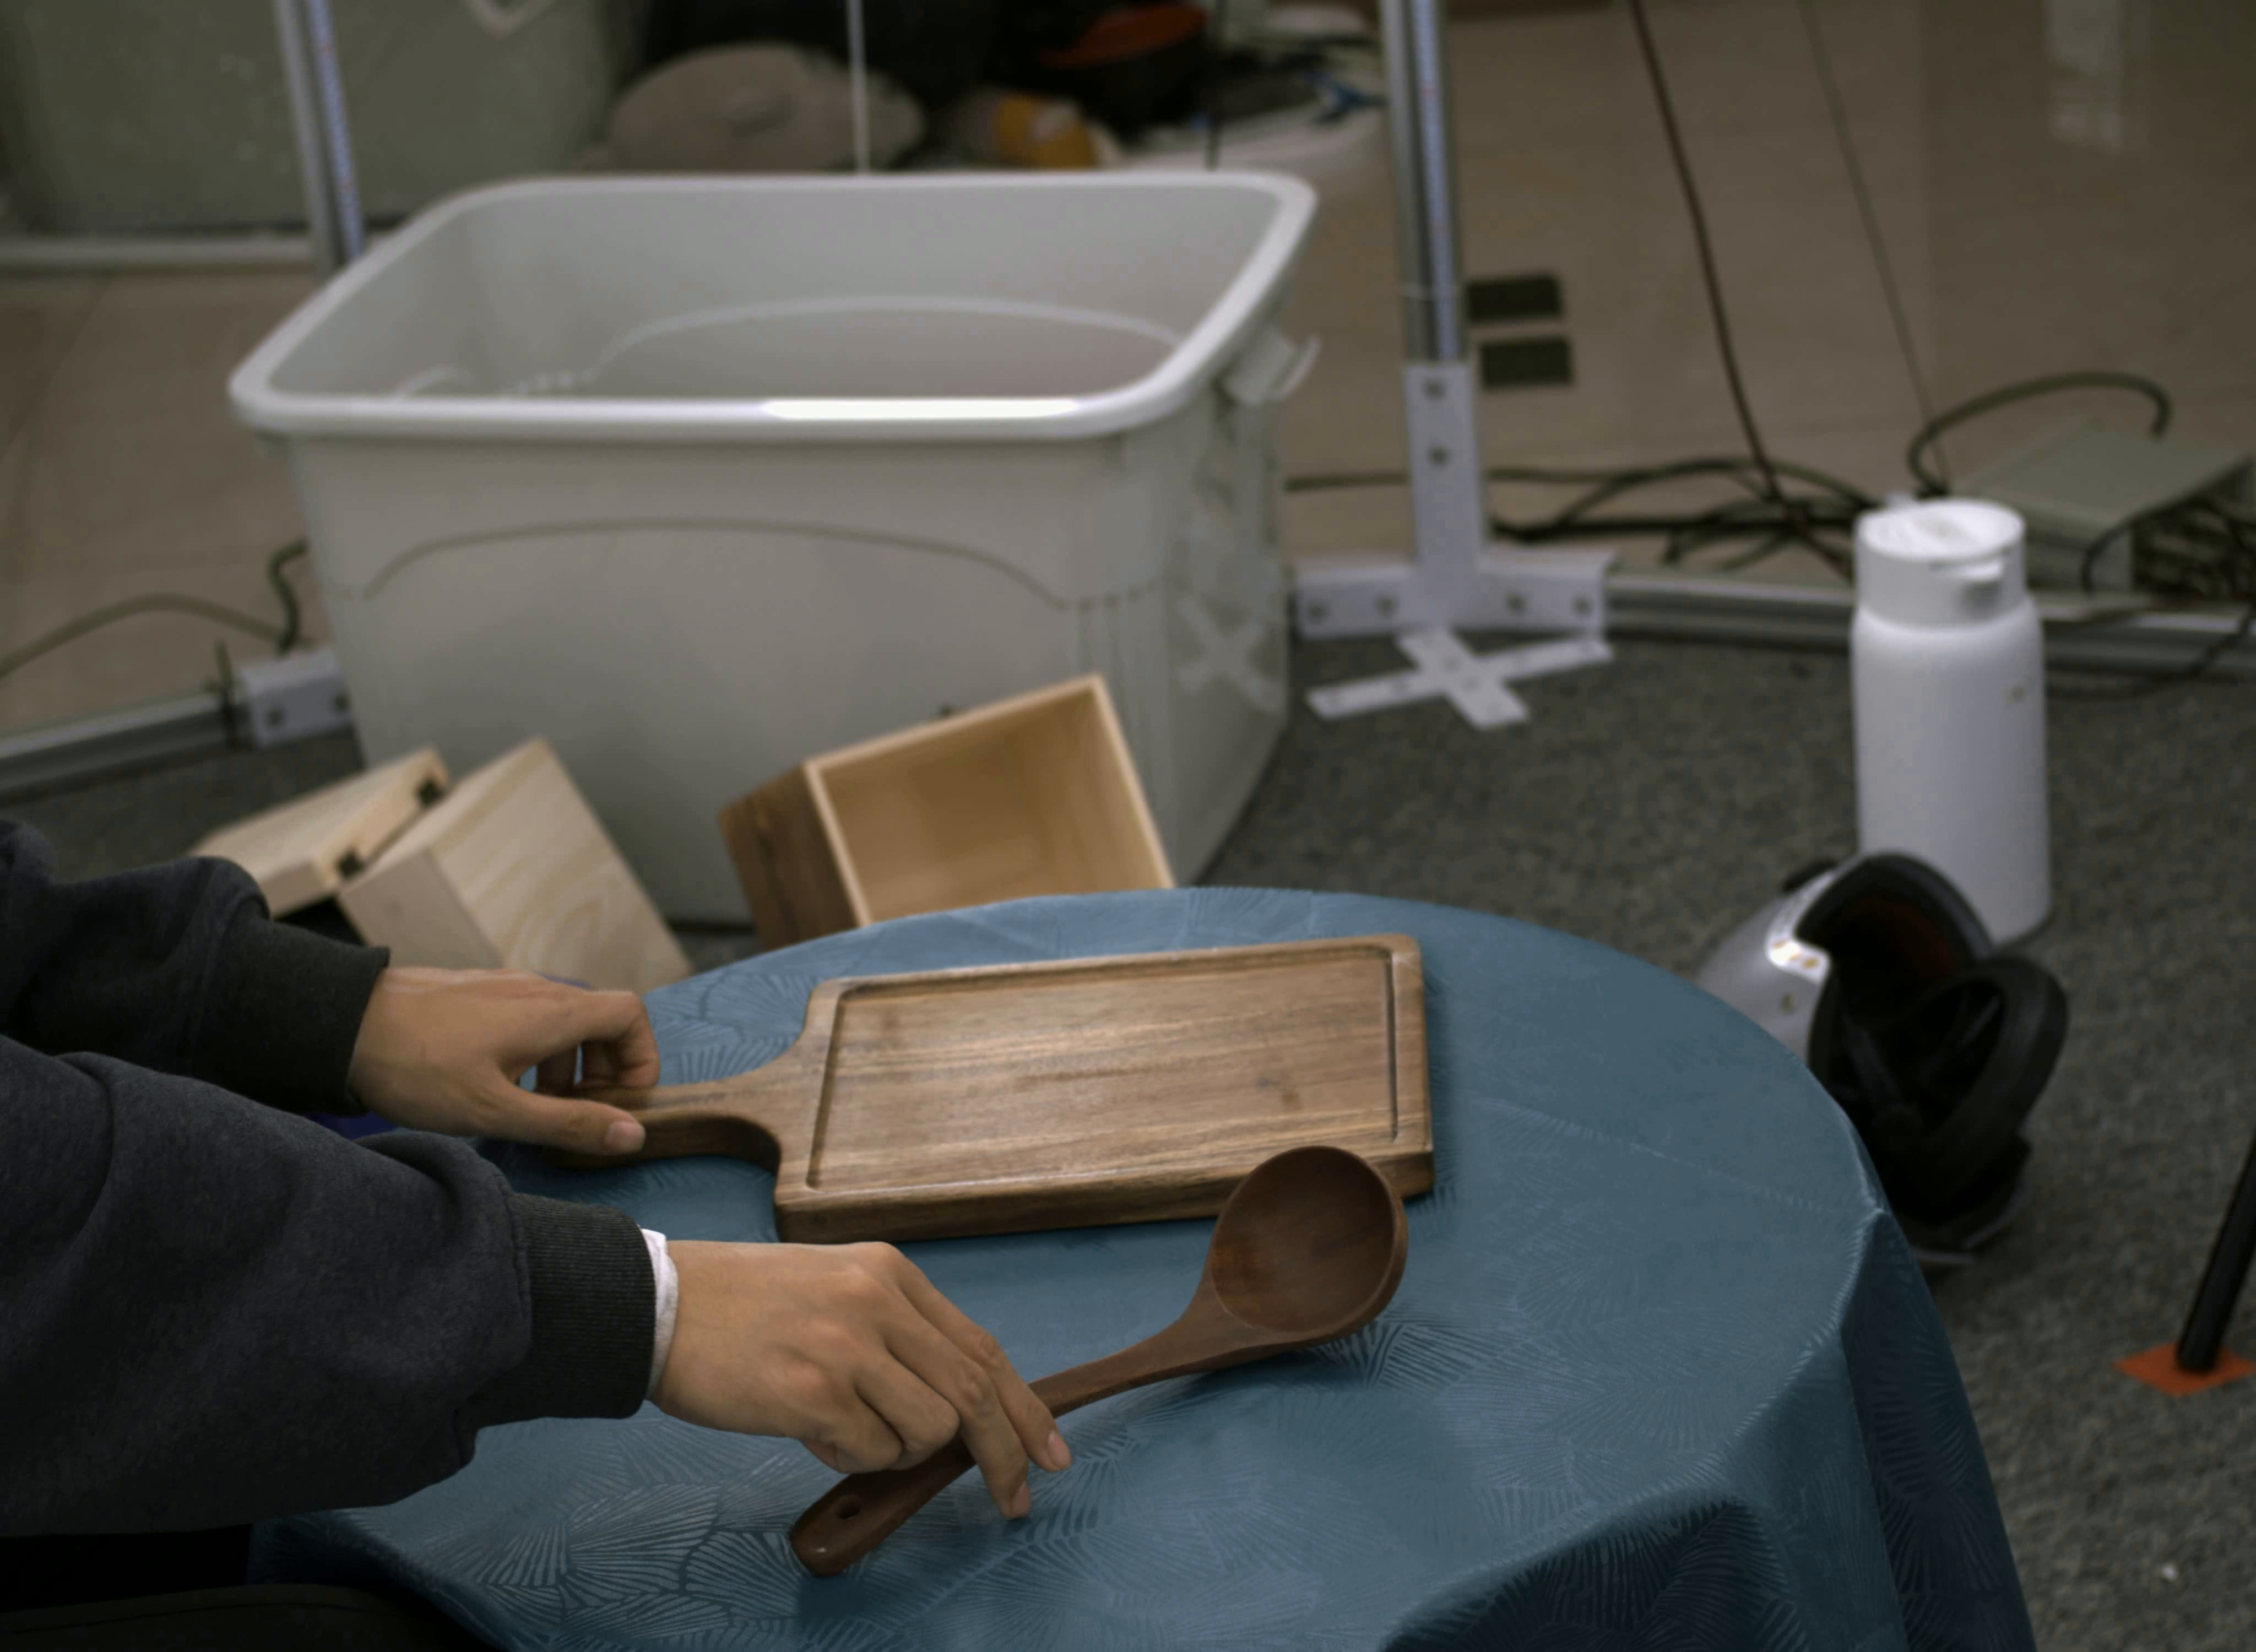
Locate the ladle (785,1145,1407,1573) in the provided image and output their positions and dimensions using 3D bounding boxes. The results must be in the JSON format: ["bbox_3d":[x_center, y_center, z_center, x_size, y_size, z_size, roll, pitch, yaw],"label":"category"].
[{"bbox_3d":[-0.012,0.184,1.976,0.258,0.066,0.075,-22,39,-31],"label":"ladle"}]

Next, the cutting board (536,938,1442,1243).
[{"bbox_3d":[-0.056,0.104,2.208,0.351,0.023,0.198,-5,24,3],"label":"cutting board"}]
